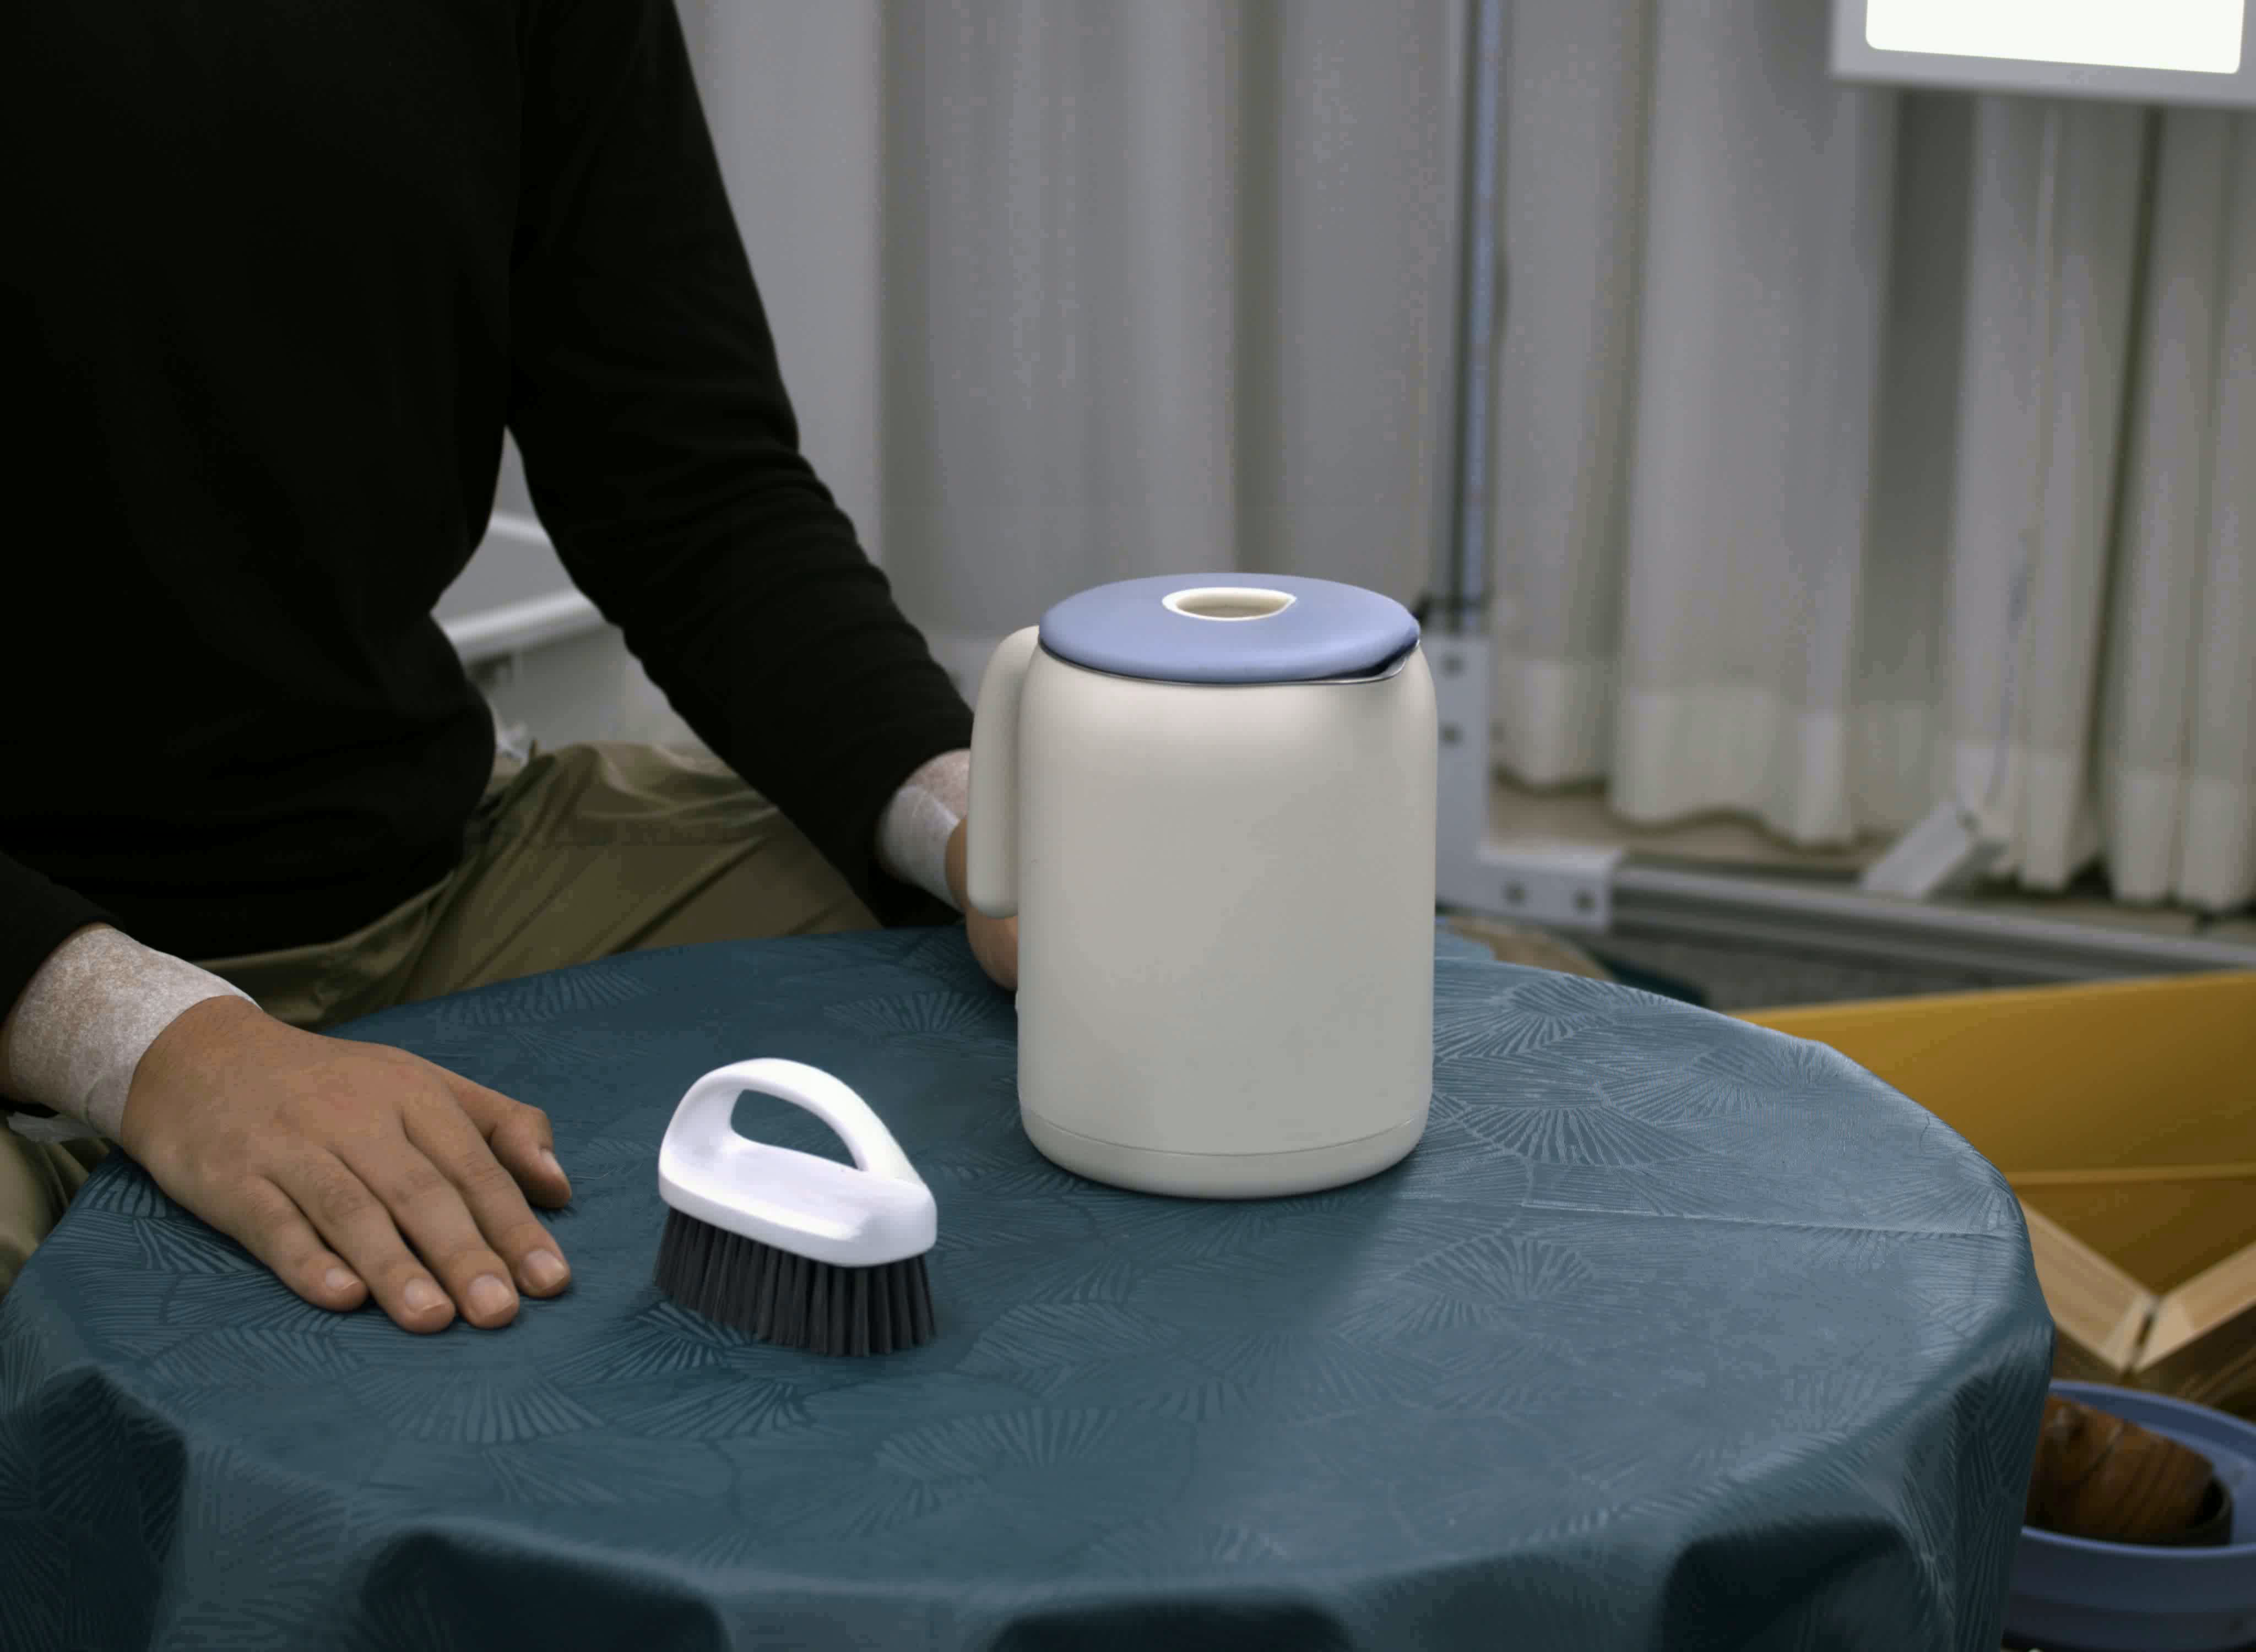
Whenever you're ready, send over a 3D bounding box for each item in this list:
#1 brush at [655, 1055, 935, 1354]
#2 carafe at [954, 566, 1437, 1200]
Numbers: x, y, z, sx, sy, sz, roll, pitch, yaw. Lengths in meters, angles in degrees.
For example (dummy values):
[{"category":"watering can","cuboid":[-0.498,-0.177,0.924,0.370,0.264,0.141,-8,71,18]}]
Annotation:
[{"category":"brush","cuboid":[-0.097,0.104,1.512,0.050,0.073,0.098,-14,21,-41]},{"category":"carafe","cuboid":[0.014,0.012,1.661,0.133,0.184,0.188,-15,20,-42]}]
